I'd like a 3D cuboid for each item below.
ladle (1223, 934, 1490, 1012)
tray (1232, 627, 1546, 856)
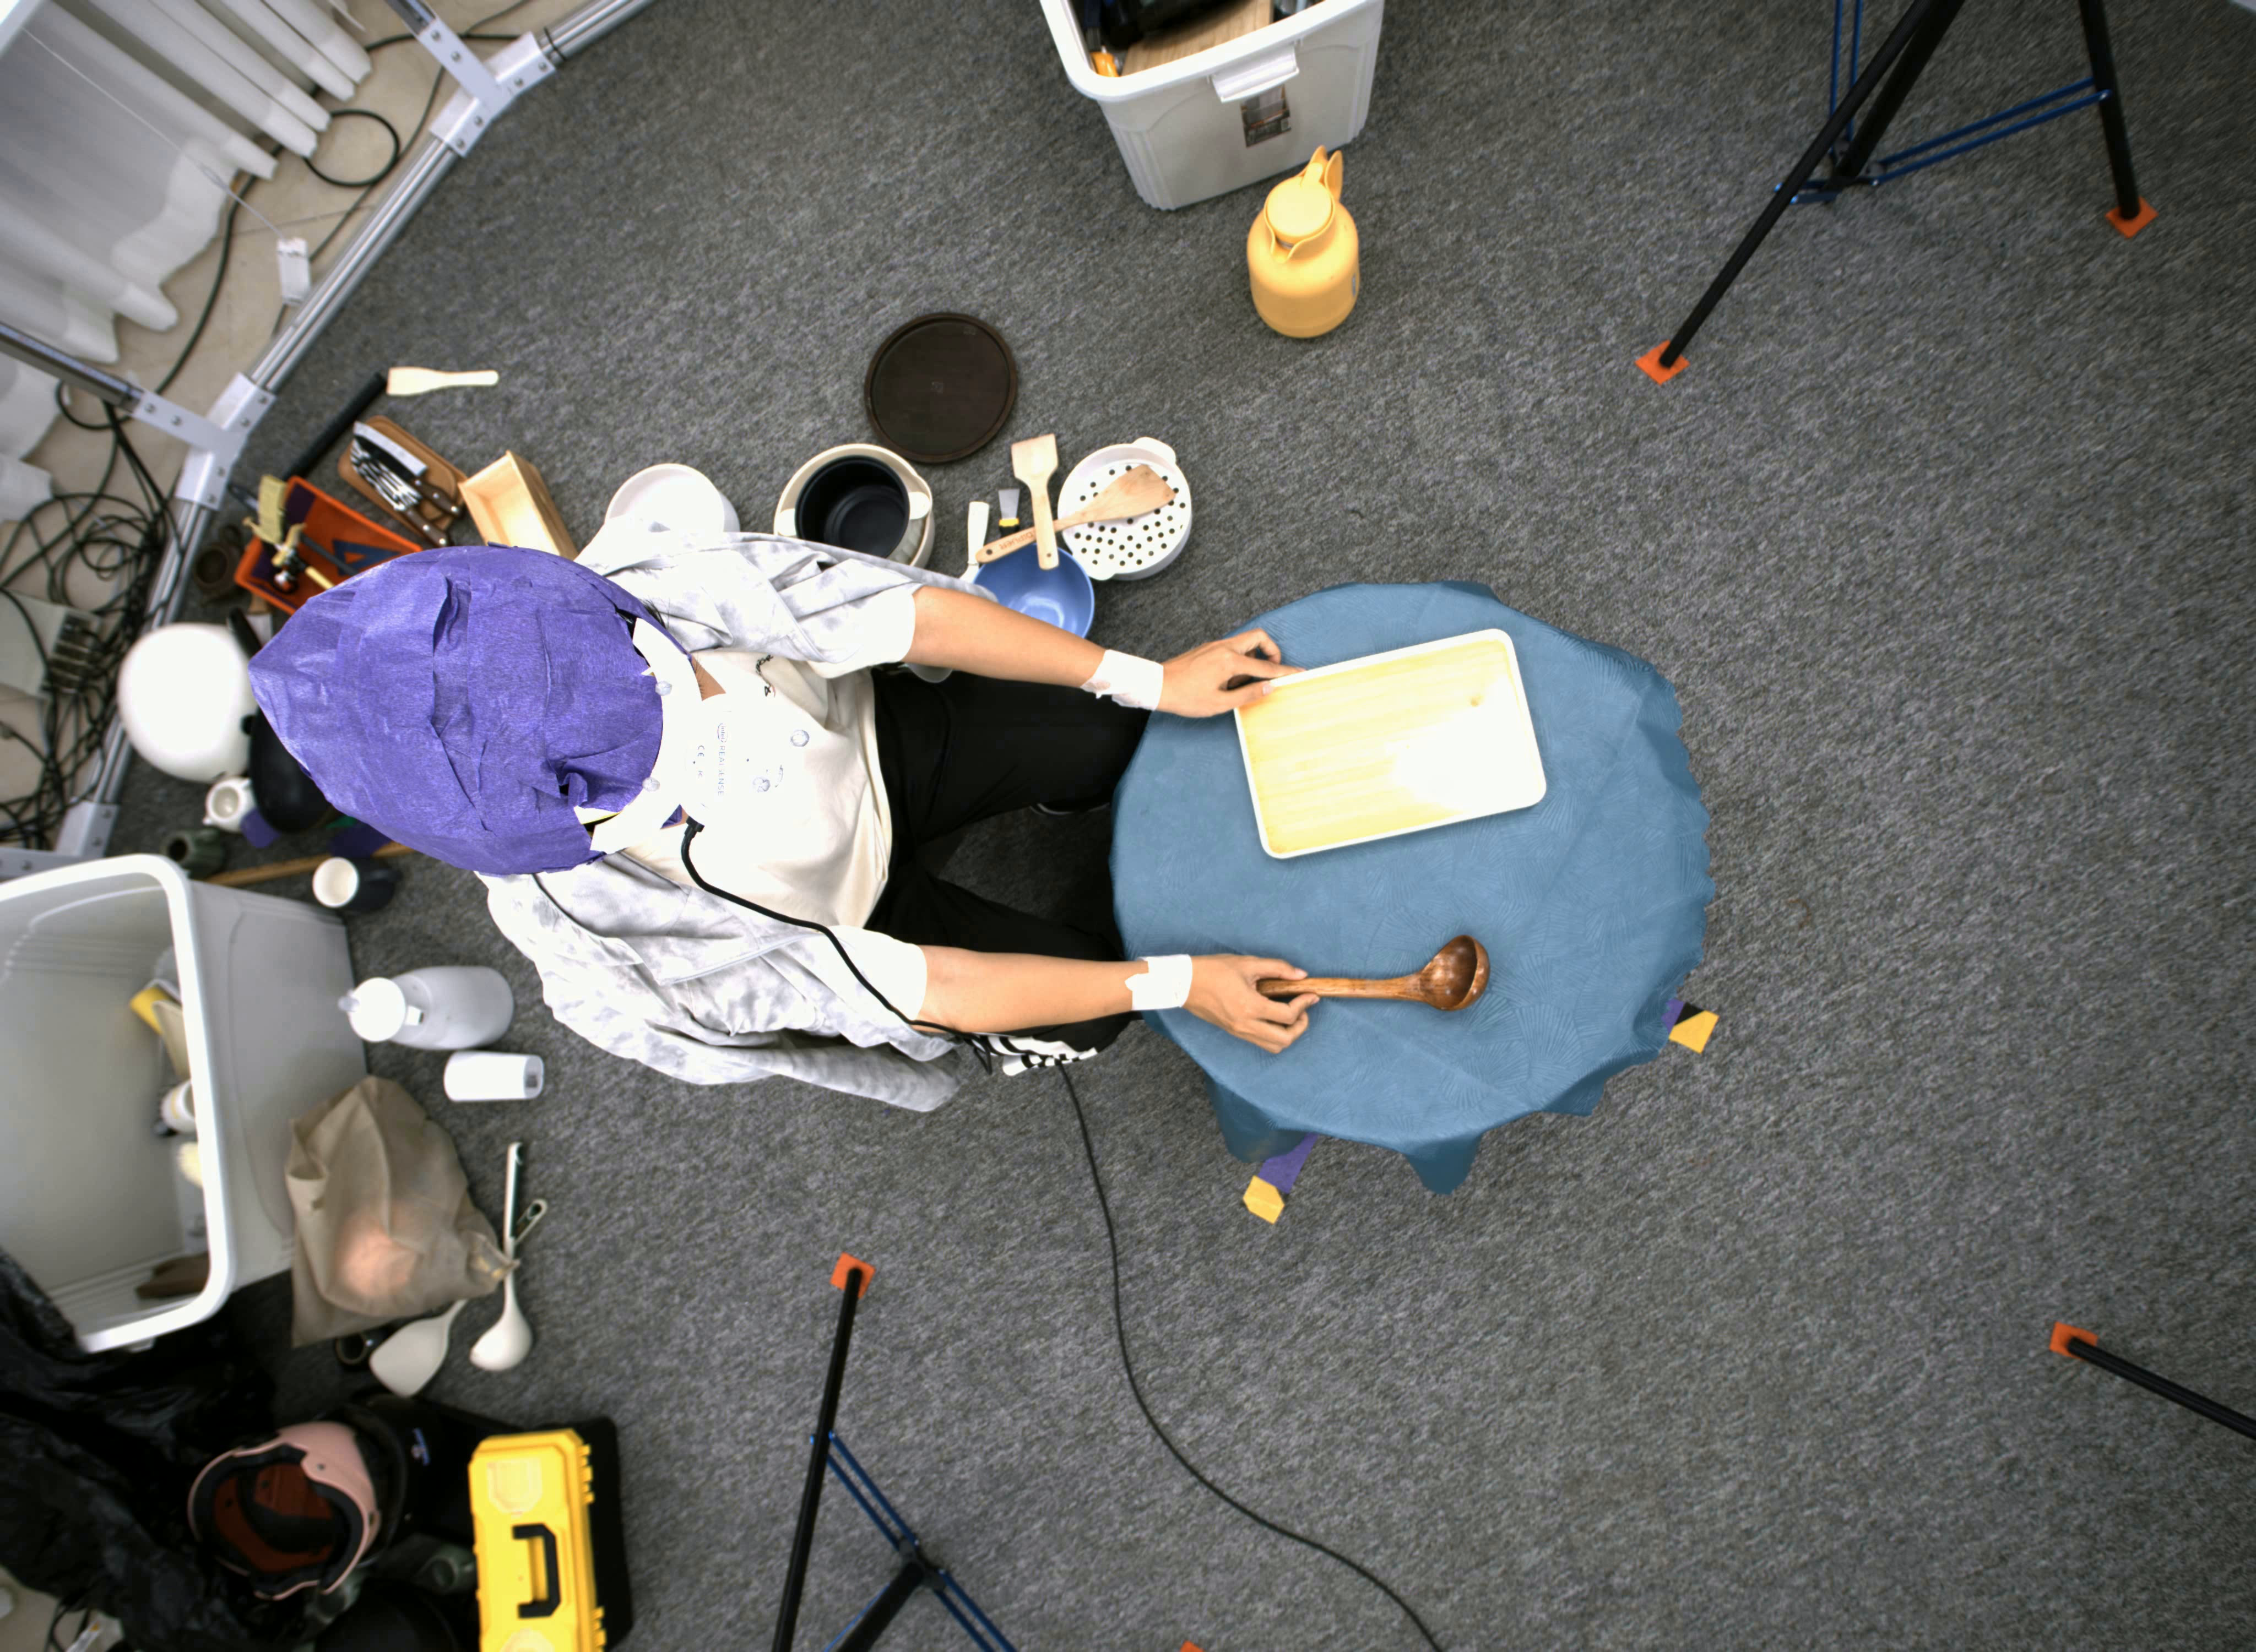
[{"bbox_3d":[0.232,0.150,1.423,0.275,0.078,0.079,0,48,10],"label":"ladle"},{"bbox_3d":[0.272,-0.089,1.452,0.302,0.027,0.190,-12,85,10],"label":"tray"}]
